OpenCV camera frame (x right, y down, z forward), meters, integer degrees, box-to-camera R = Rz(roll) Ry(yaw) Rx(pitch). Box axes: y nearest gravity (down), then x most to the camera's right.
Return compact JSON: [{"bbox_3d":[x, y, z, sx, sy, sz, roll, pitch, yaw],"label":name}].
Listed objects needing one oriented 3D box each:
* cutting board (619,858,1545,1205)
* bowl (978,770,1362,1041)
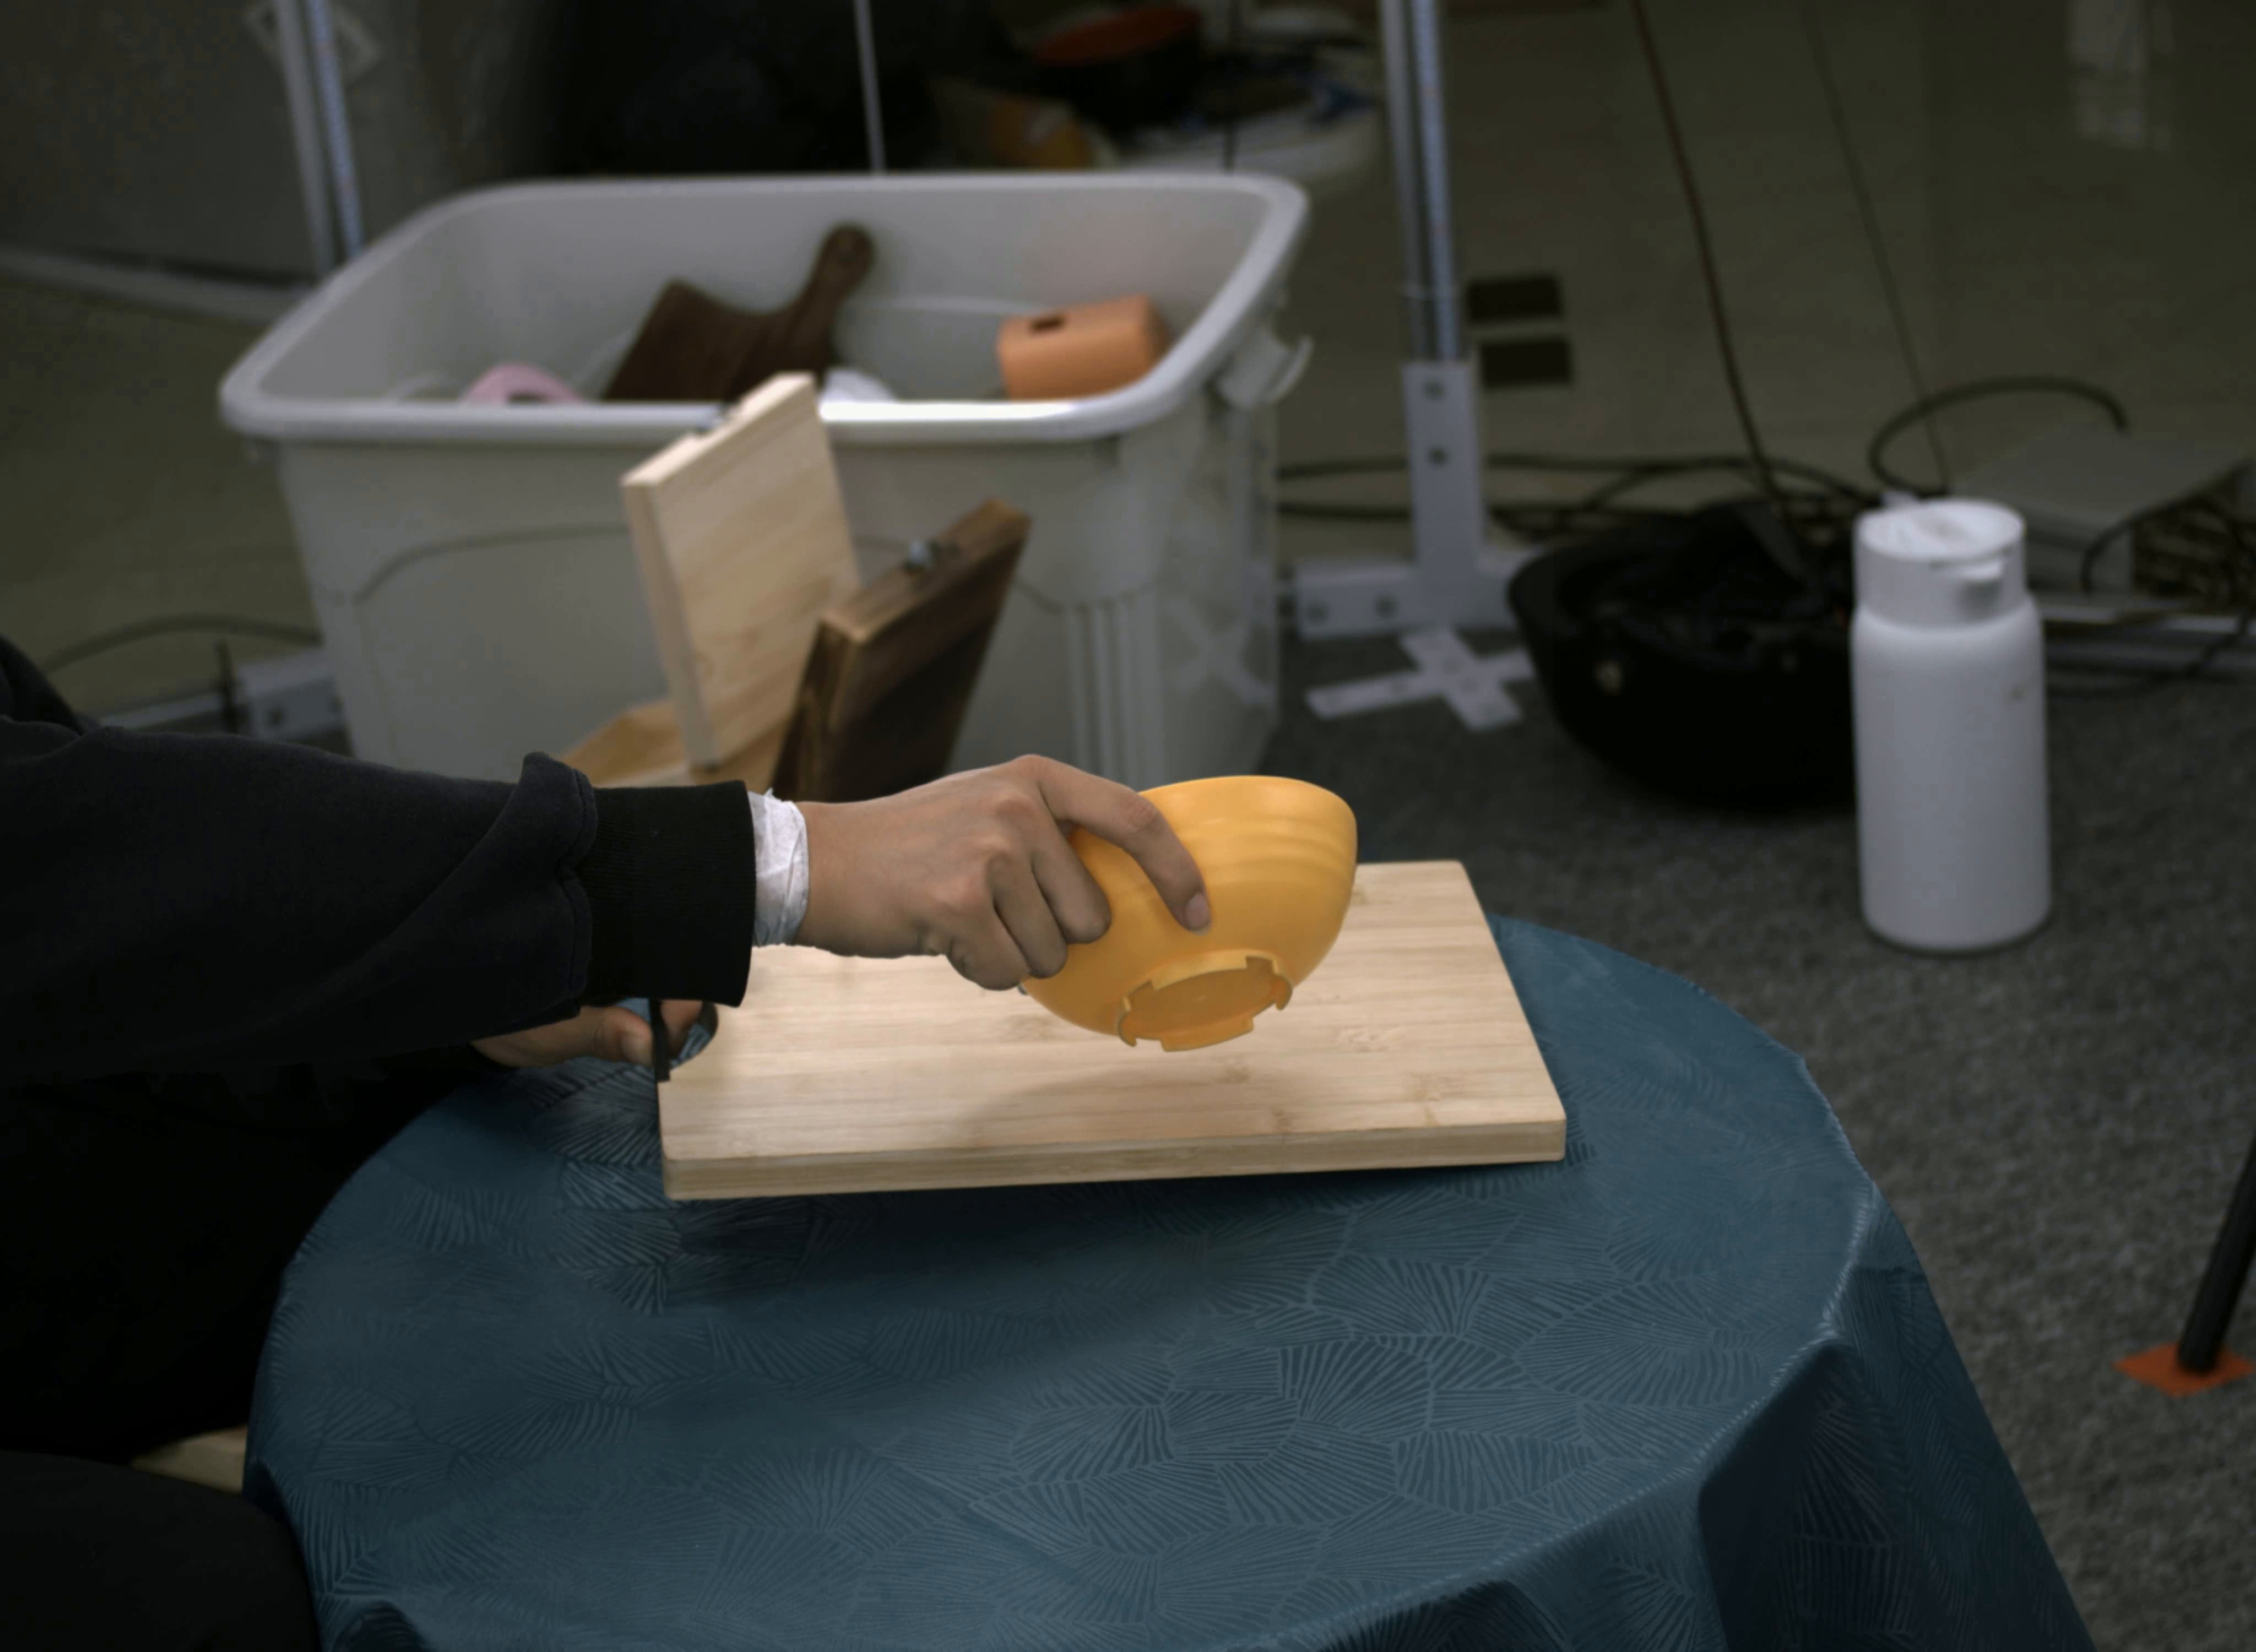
[{"bbox_3d":[-0.022,0.078,2.224,0.348,0.024,0.247,-3,24,-7],"label":"cutting board"},{"bbox_3d":[0.020,0.039,2.081,0.145,0.147,0.059,-8,65,-5],"label":"bowl"}]
